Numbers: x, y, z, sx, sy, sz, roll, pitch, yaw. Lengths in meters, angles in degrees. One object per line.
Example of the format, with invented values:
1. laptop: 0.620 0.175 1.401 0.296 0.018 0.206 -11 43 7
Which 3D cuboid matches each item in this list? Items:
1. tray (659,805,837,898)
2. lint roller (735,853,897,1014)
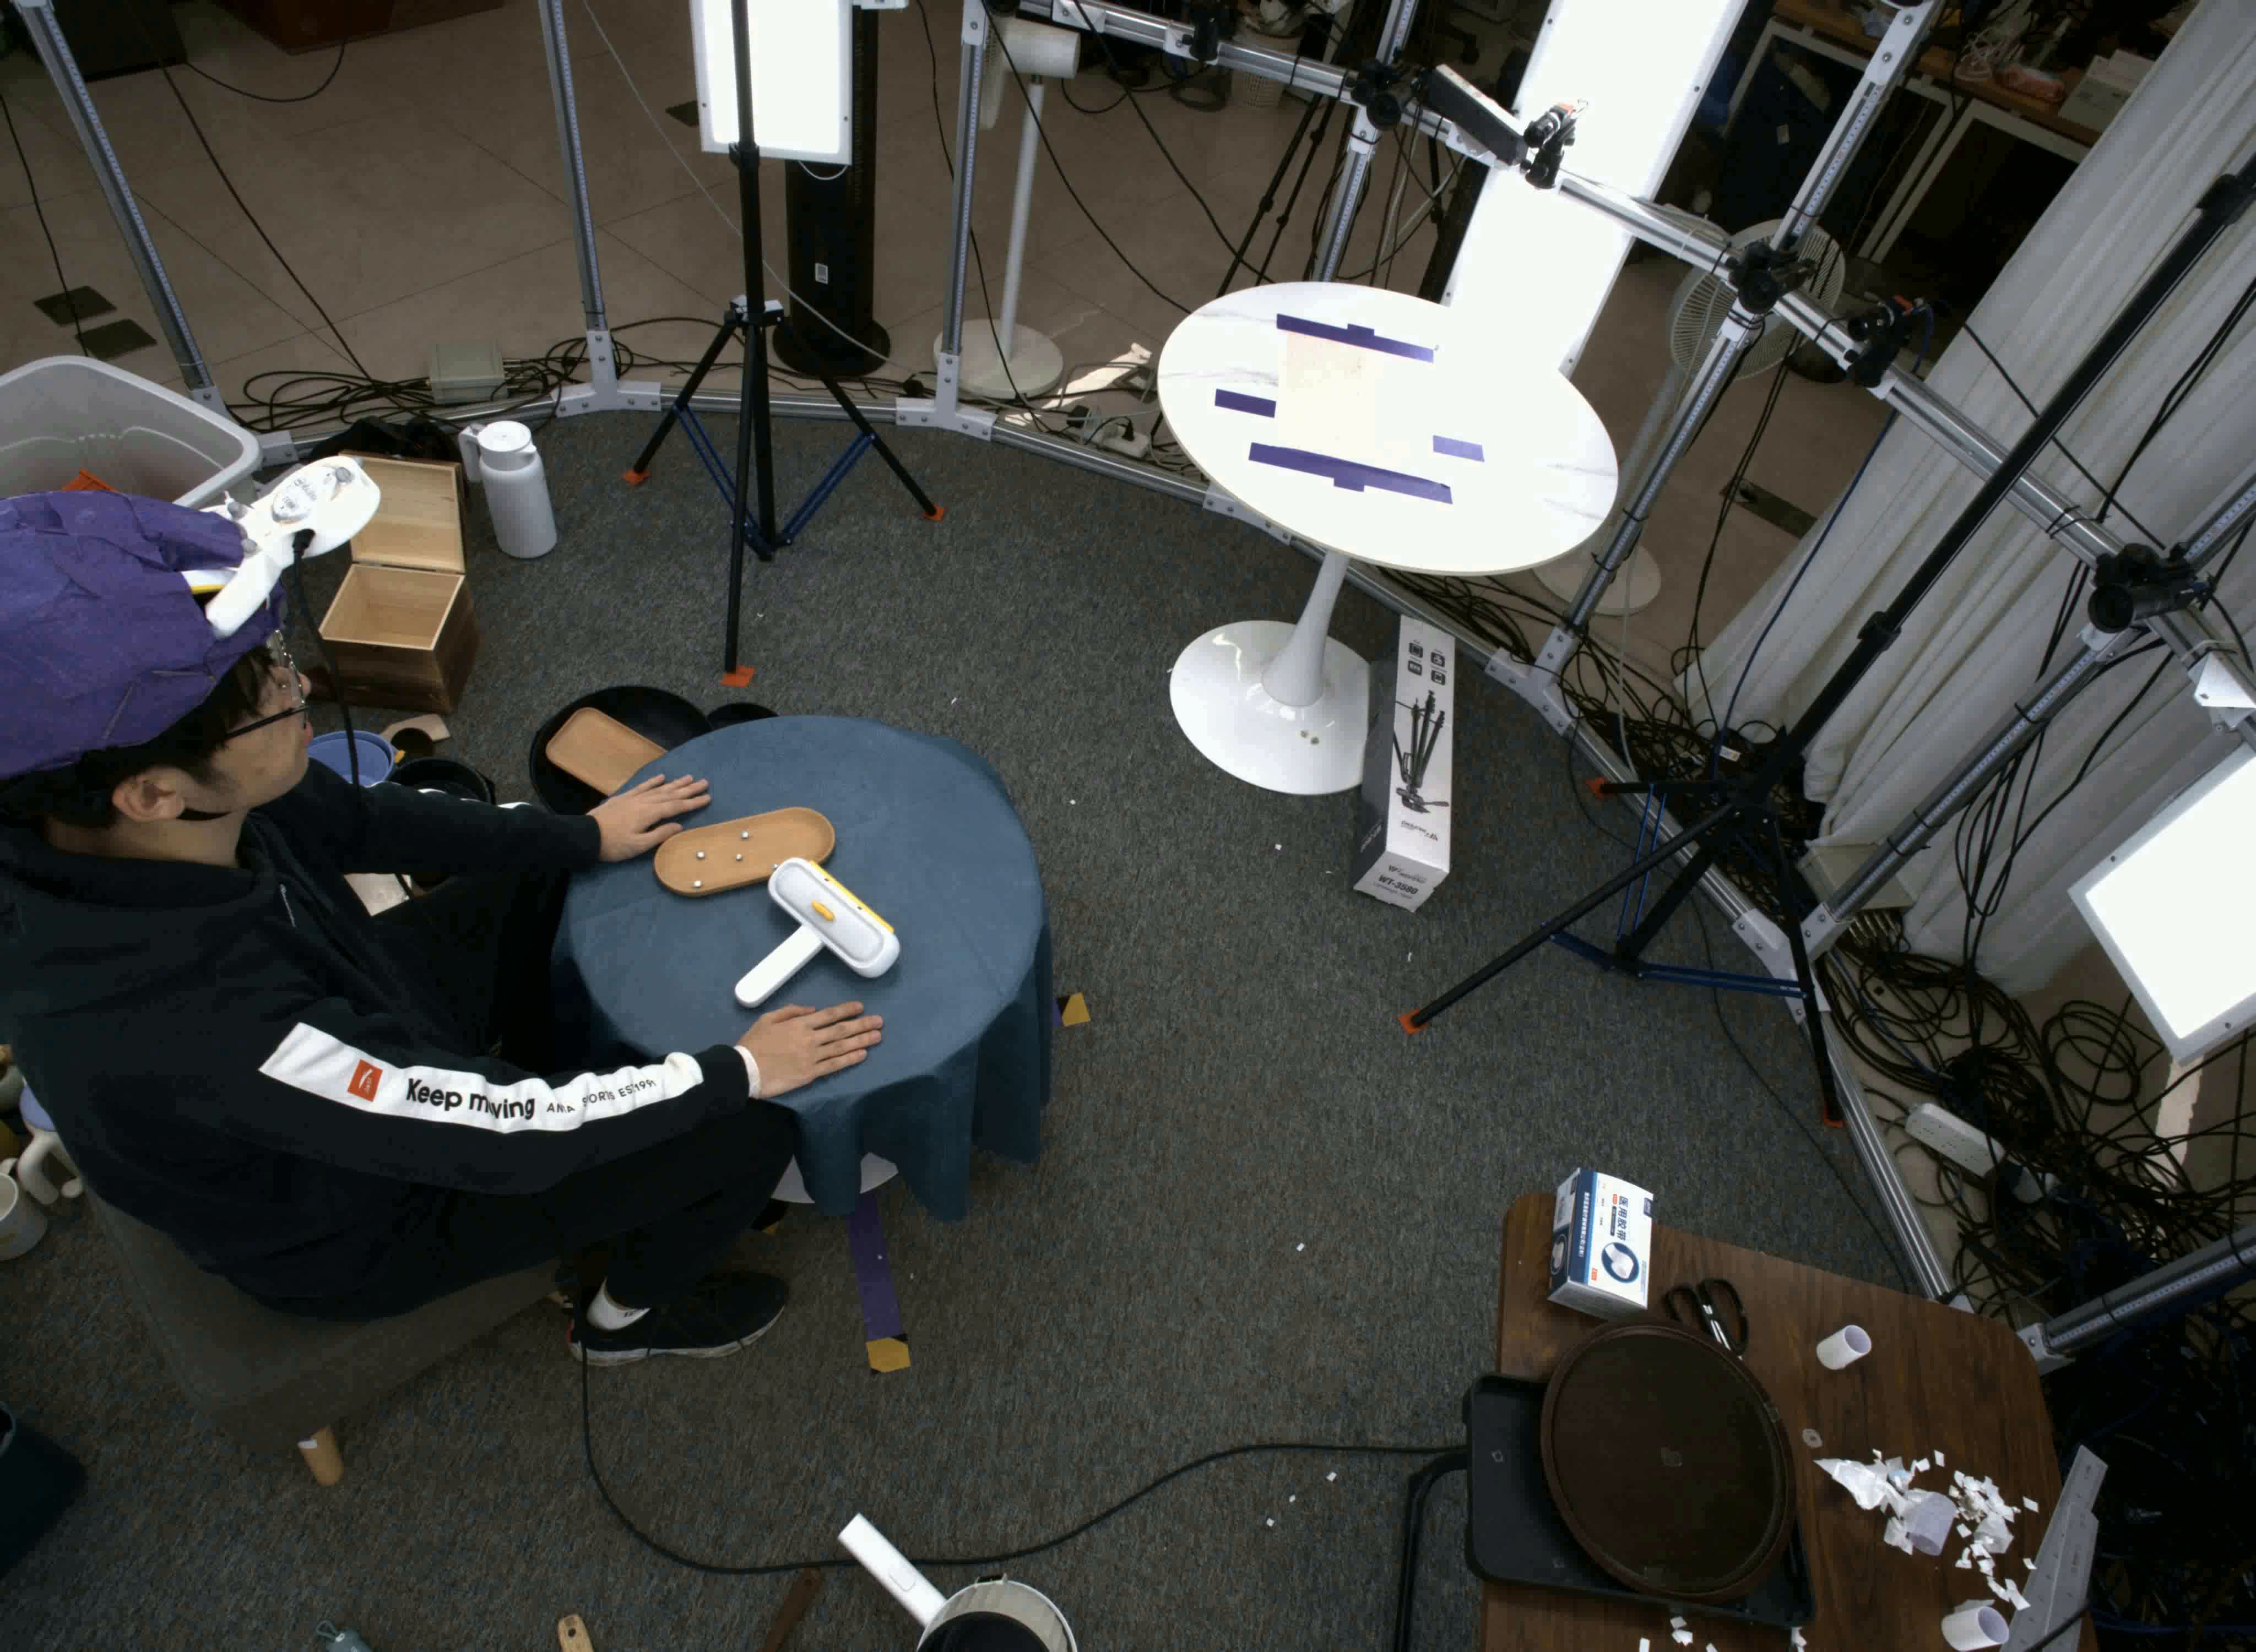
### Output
1. tray: -0.491 0.031 1.679 0.232 0.021 0.099 -15 60 -25
2. lint roller: -0.407 0.148 1.594 0.191 0.075 0.192 36 73 5
